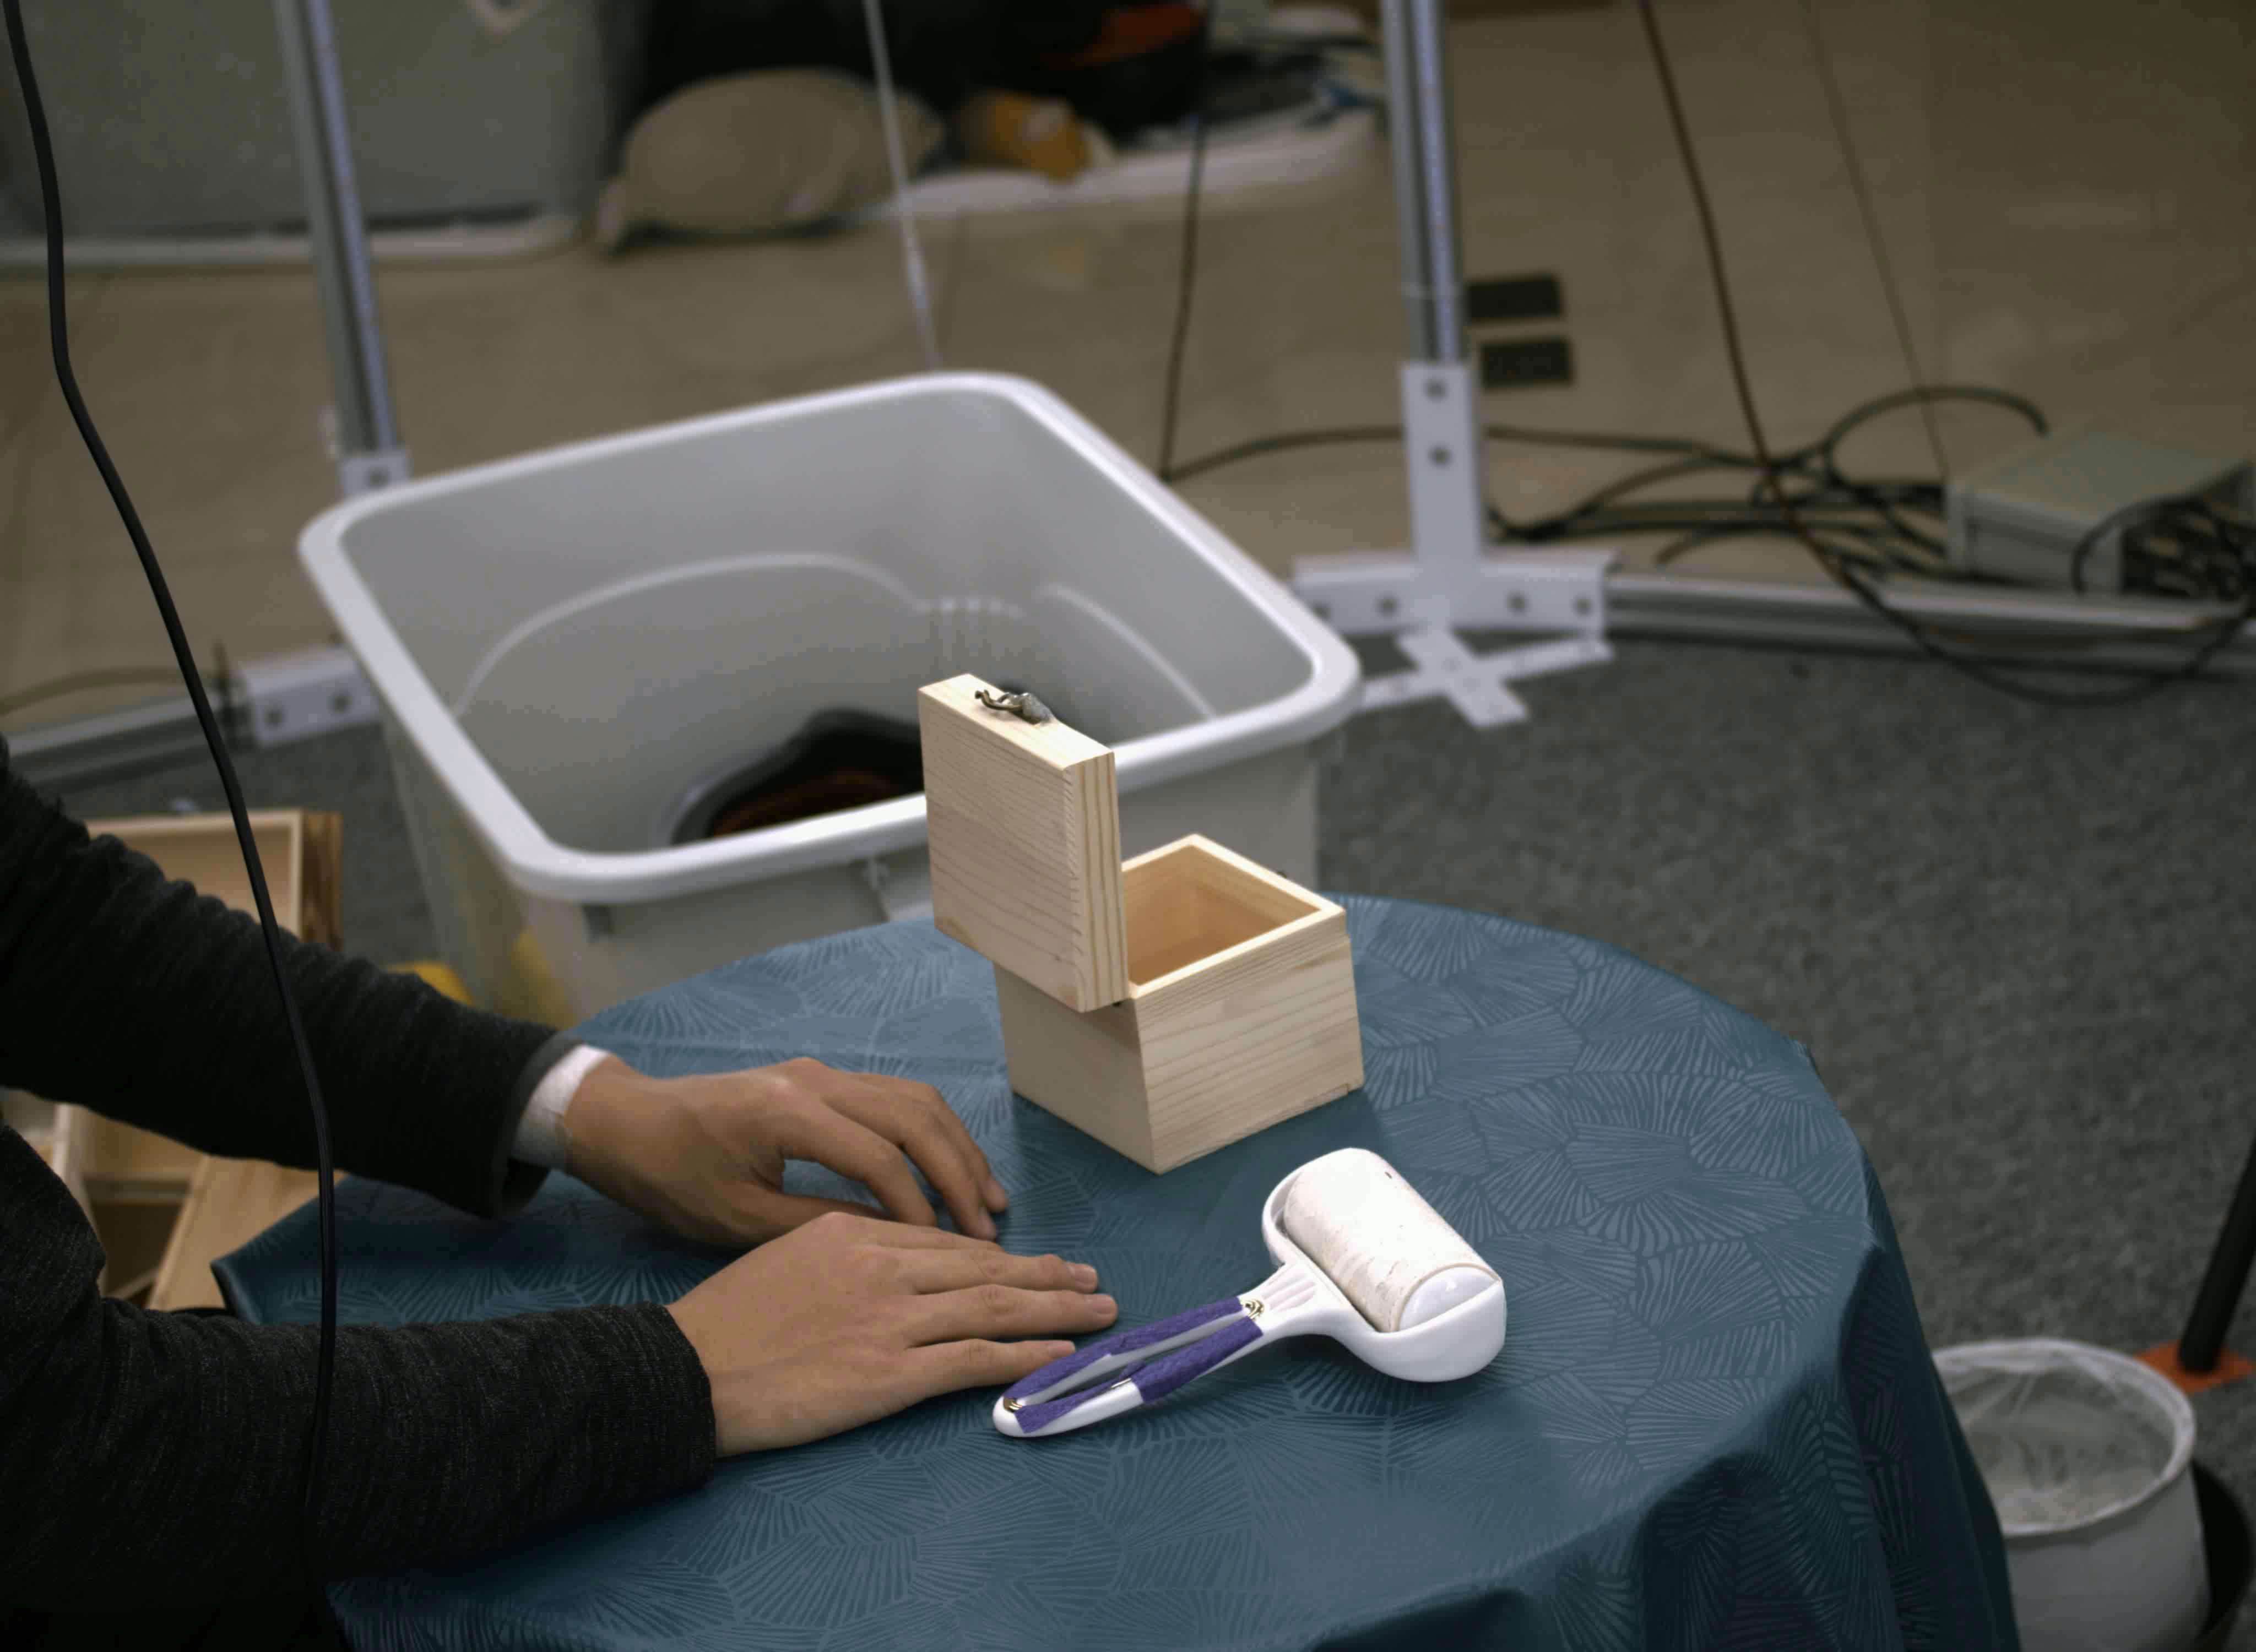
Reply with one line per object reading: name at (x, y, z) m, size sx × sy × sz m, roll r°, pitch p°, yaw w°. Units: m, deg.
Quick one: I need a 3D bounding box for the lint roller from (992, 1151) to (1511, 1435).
lint roller at (0.034, 0.171, 2.014) m, size 0.180 × 0.051 × 0.131 m, roll -12°, pitch 27°, yaw -16°

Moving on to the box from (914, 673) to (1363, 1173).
box at (0.006, 0.023, 2.174) m, size 0.133 × 0.187 × 0.101 m, roll -22°, pitch 30°, yaw -28°
